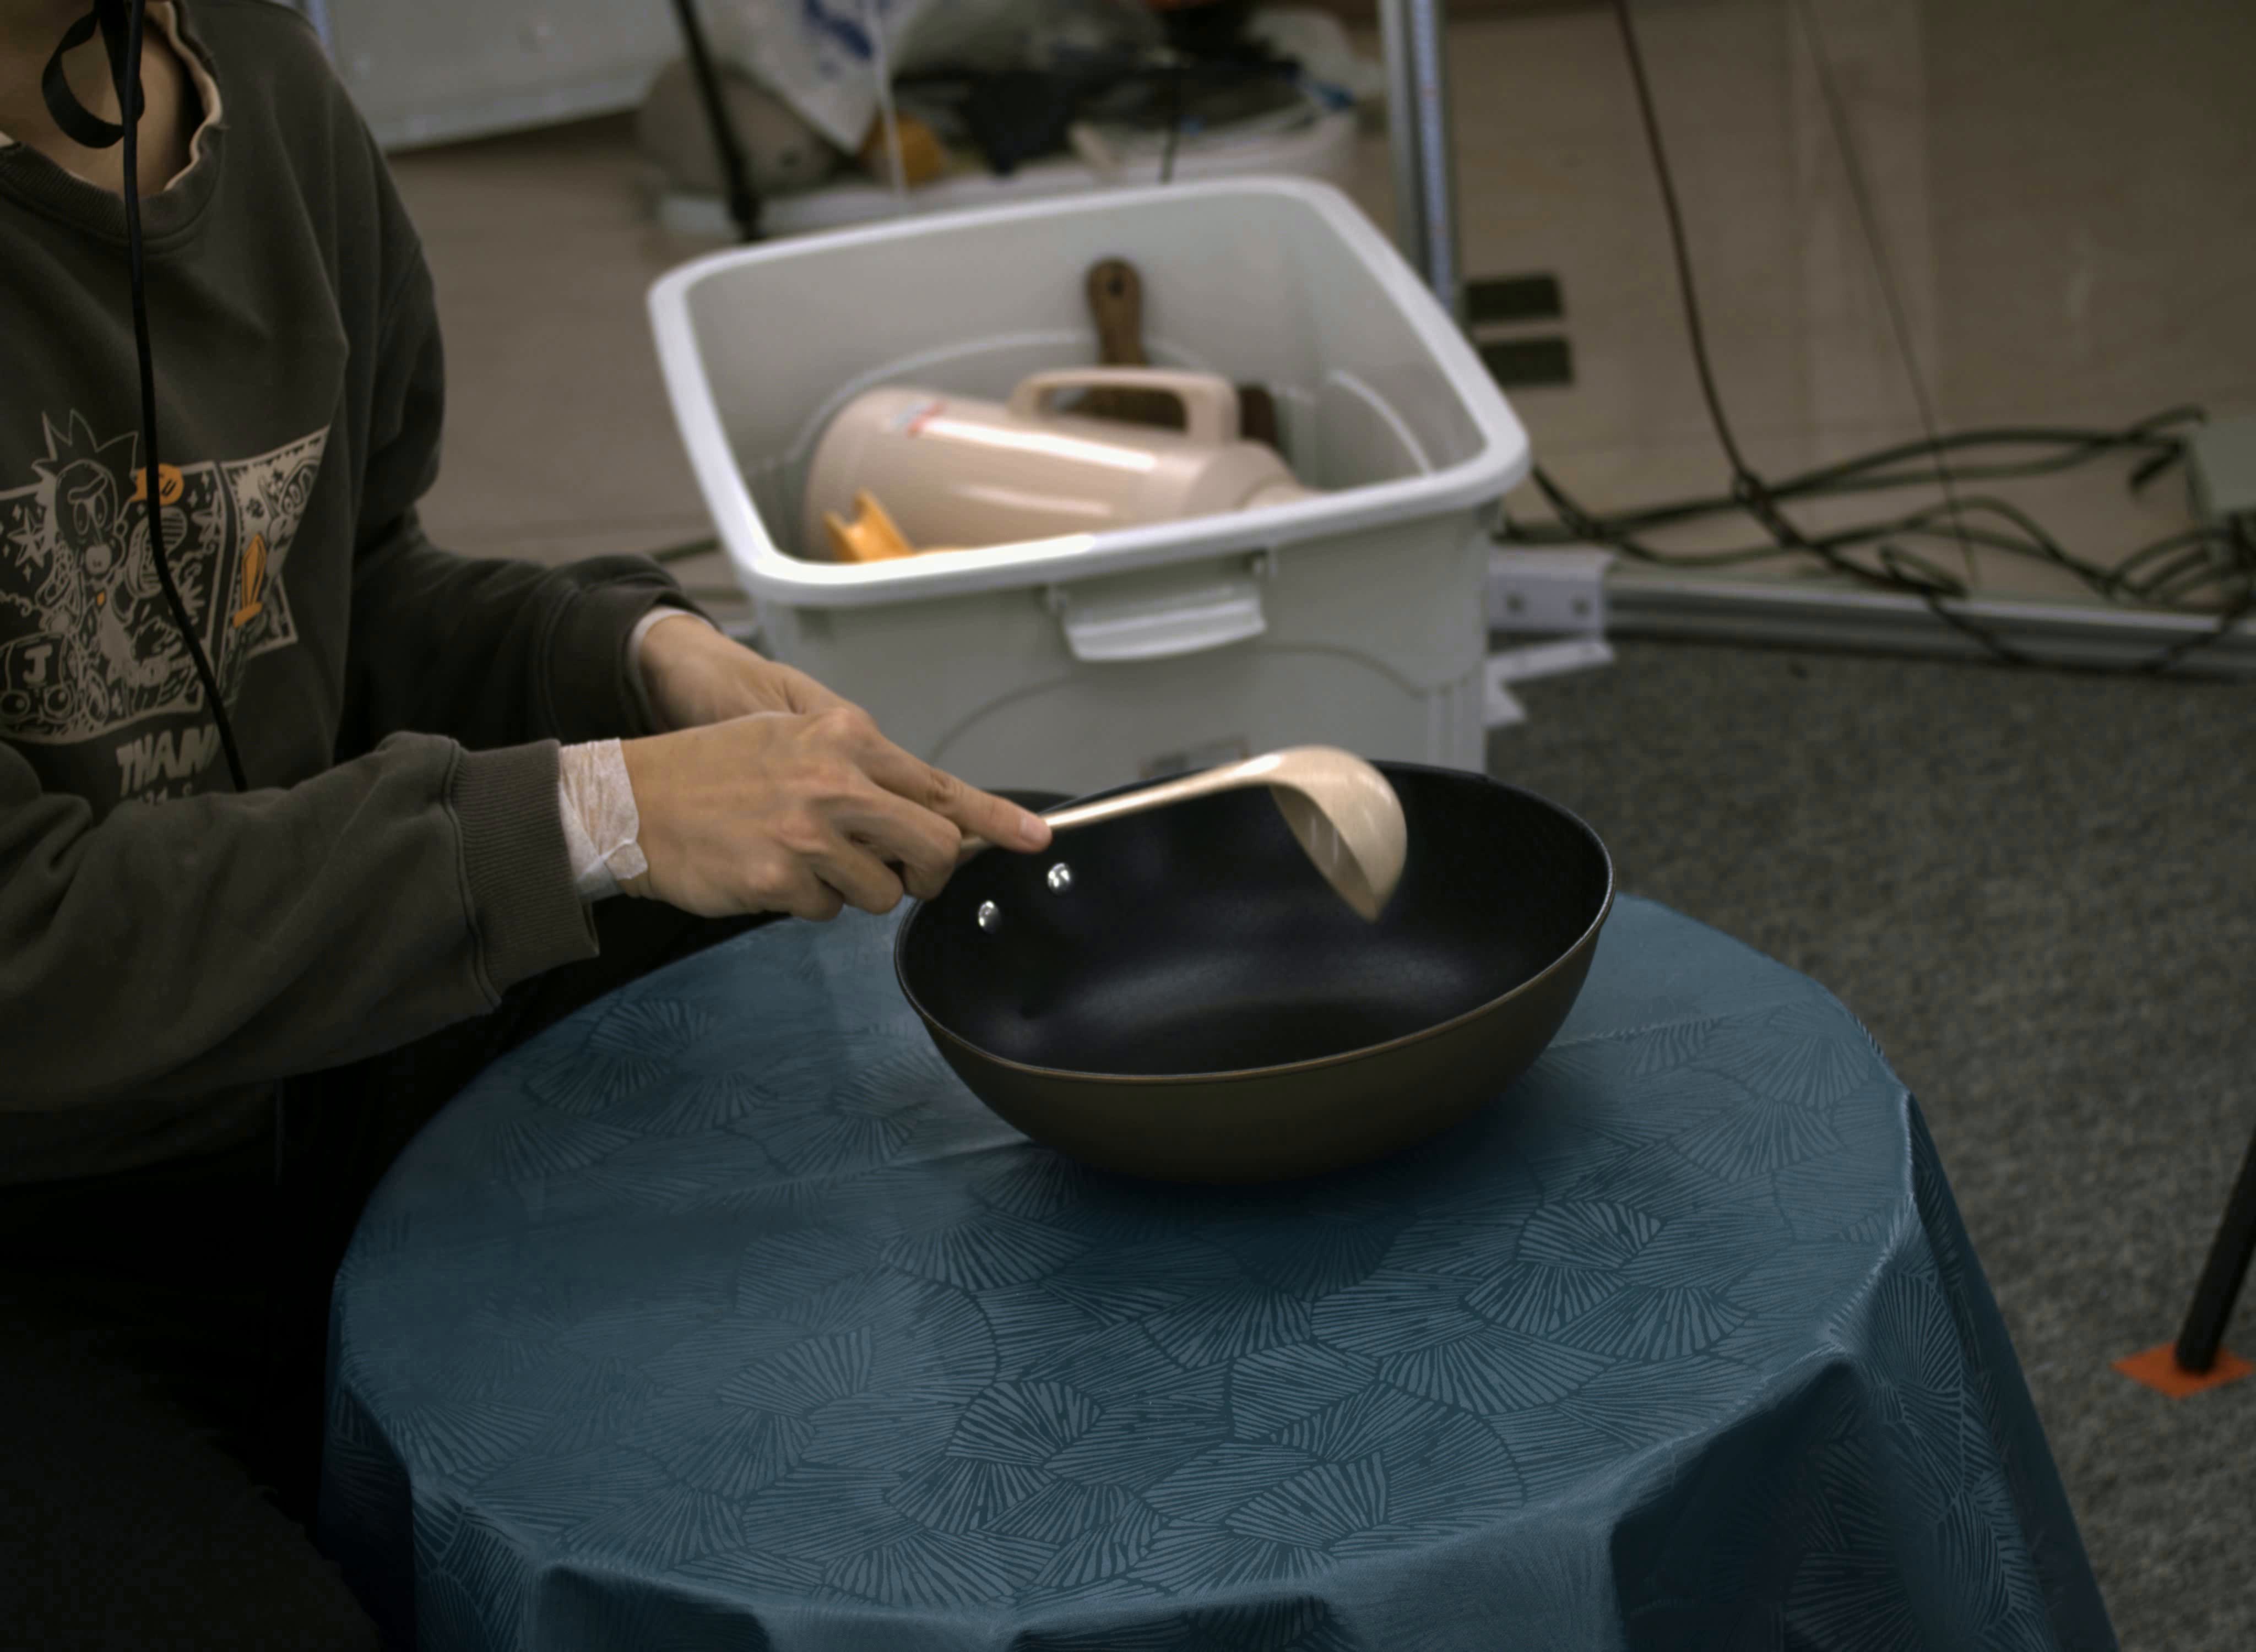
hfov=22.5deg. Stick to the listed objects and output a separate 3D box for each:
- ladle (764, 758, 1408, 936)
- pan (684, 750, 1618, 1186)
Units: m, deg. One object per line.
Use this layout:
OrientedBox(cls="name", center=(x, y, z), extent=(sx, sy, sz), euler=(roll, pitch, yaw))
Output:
OrientedBox(cls="ladle", center=(-0.016, 0.024, 2.177), extent=(0.254, 0.074, 0.071), euler=(-9, 21, -18))
OrientedBox(cls="pan", center=(-0.014, 0.049, 2.245), extent=(0.460, 0.088, 0.285), euler=(14, 32, 41))
